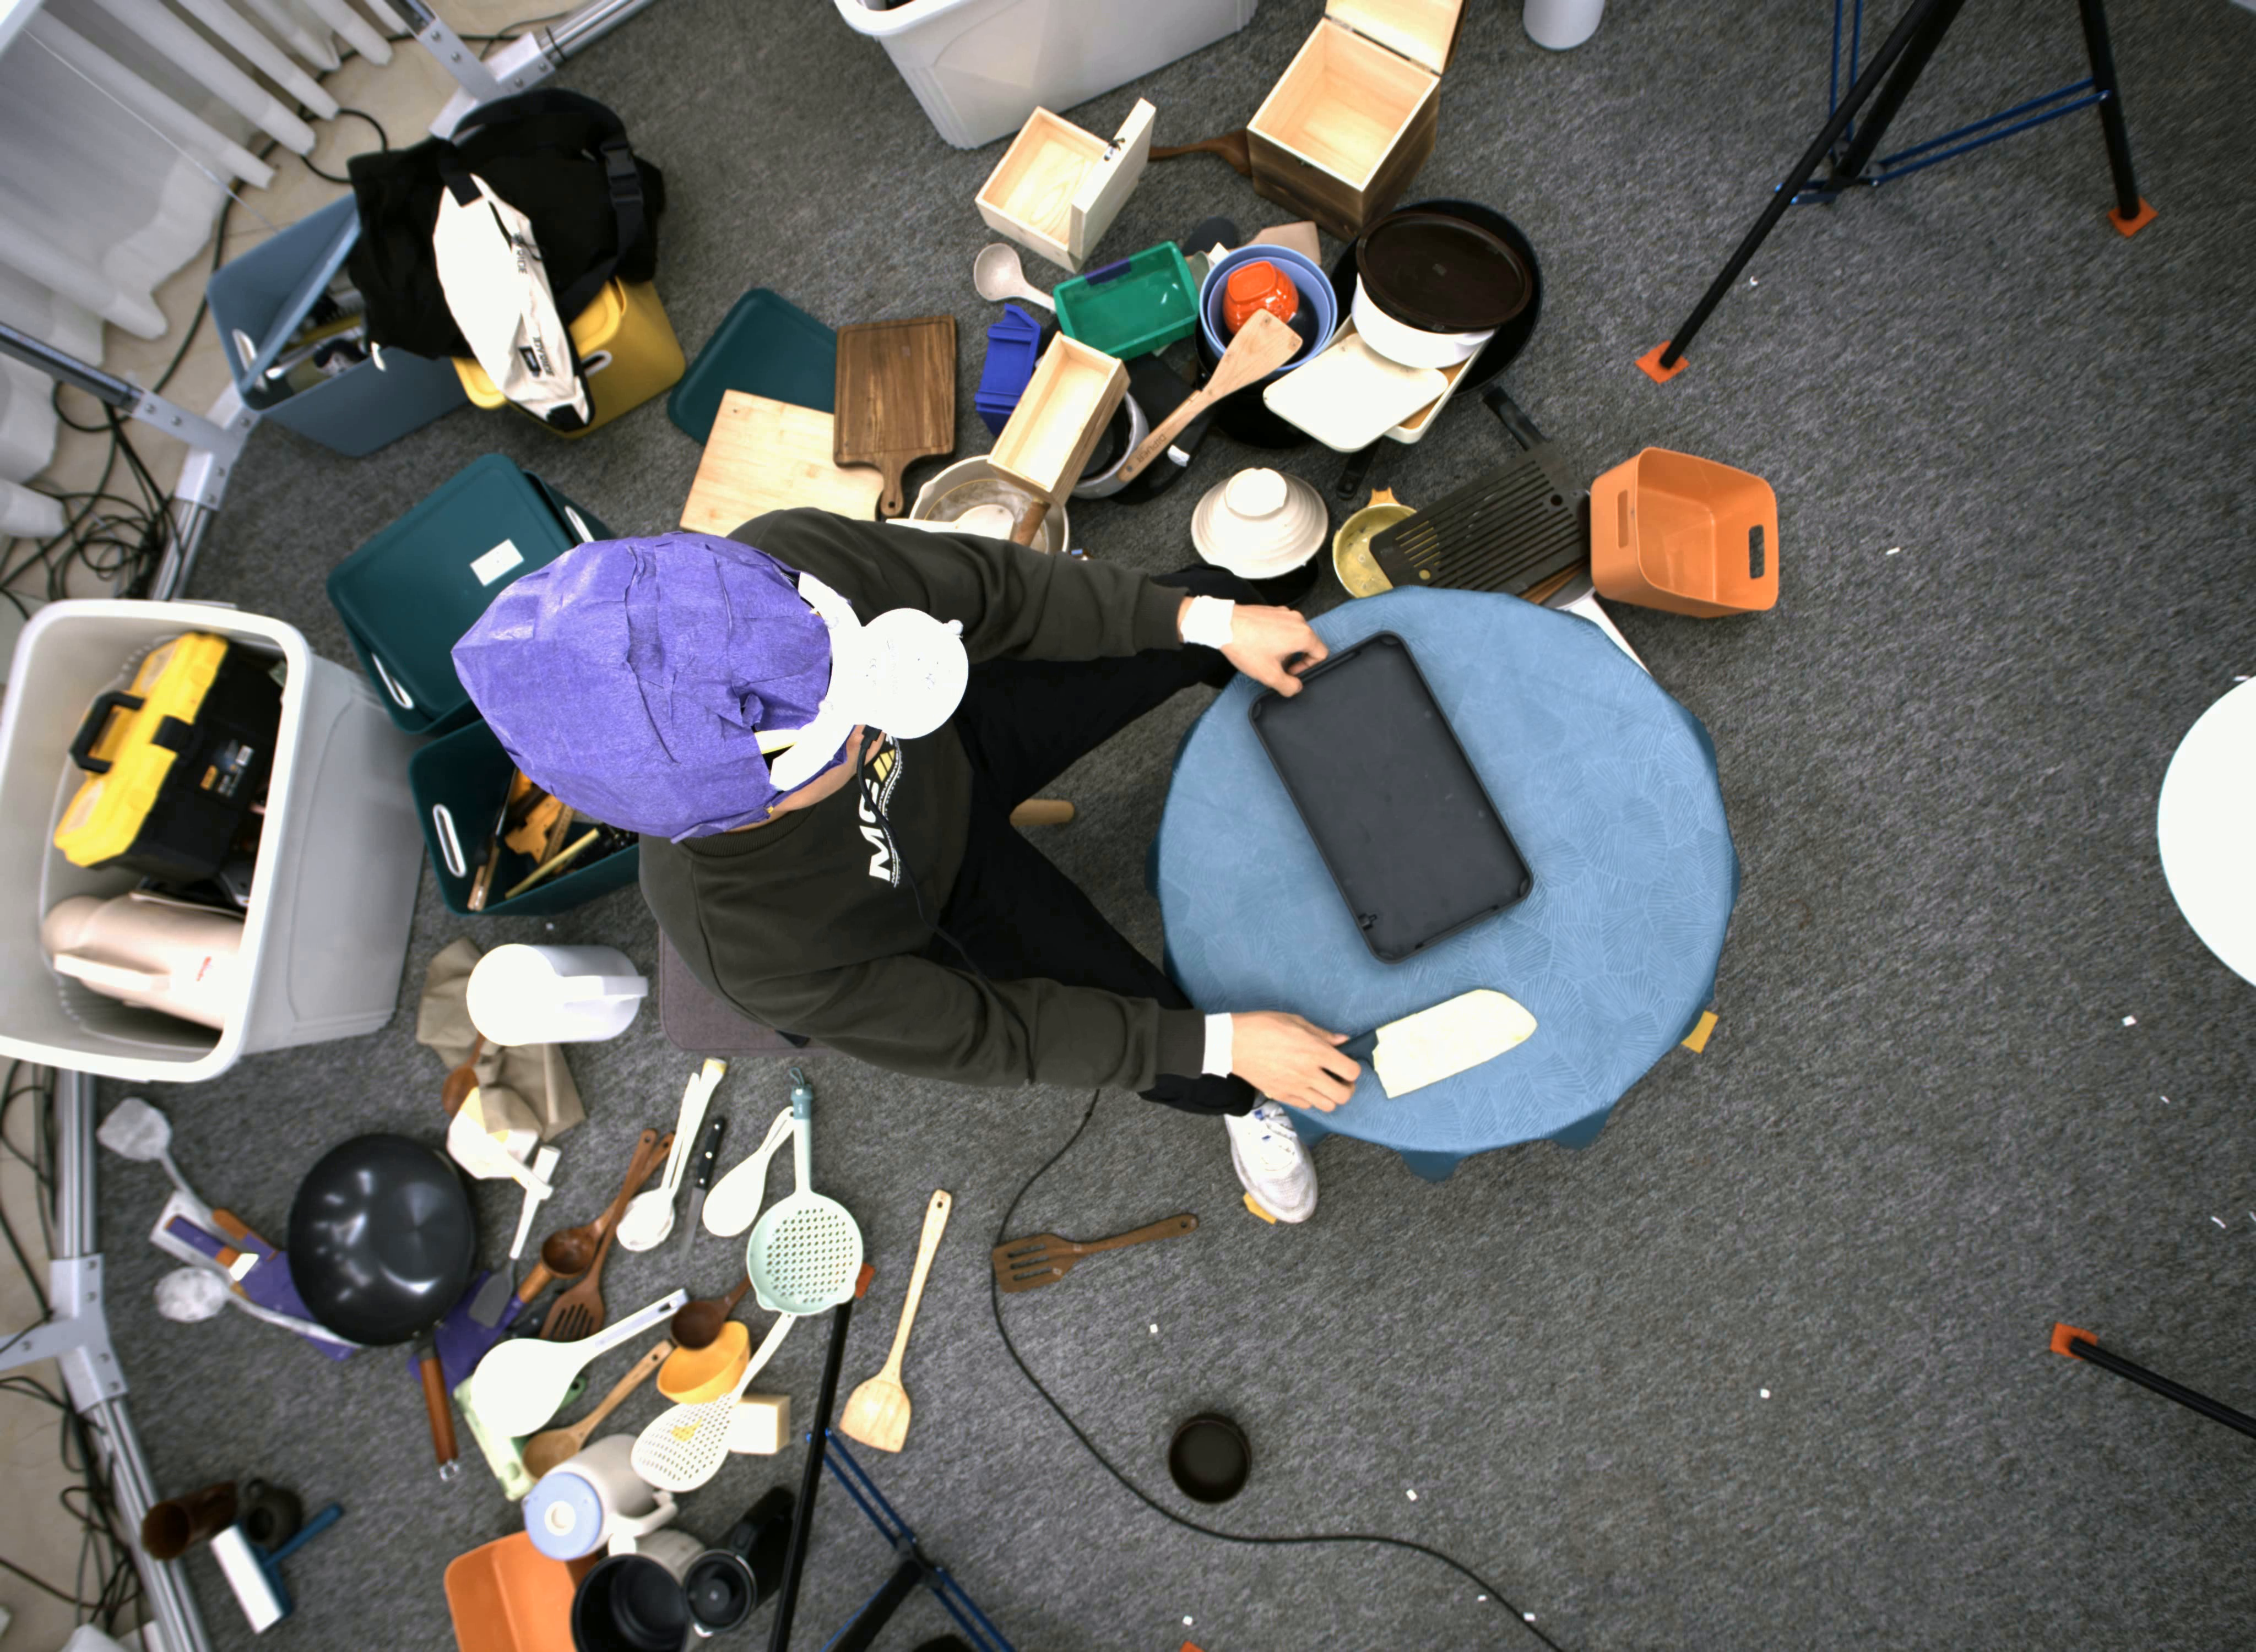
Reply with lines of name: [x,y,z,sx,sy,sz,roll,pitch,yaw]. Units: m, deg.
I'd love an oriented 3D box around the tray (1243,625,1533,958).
tray: [0.270,-0.037,1.445,0.185,0.037,0.316,-29,83,9]

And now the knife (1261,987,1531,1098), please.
knife: [0.280,0.236,1.440,0.291,0.027,0.081,-20,89,8]
